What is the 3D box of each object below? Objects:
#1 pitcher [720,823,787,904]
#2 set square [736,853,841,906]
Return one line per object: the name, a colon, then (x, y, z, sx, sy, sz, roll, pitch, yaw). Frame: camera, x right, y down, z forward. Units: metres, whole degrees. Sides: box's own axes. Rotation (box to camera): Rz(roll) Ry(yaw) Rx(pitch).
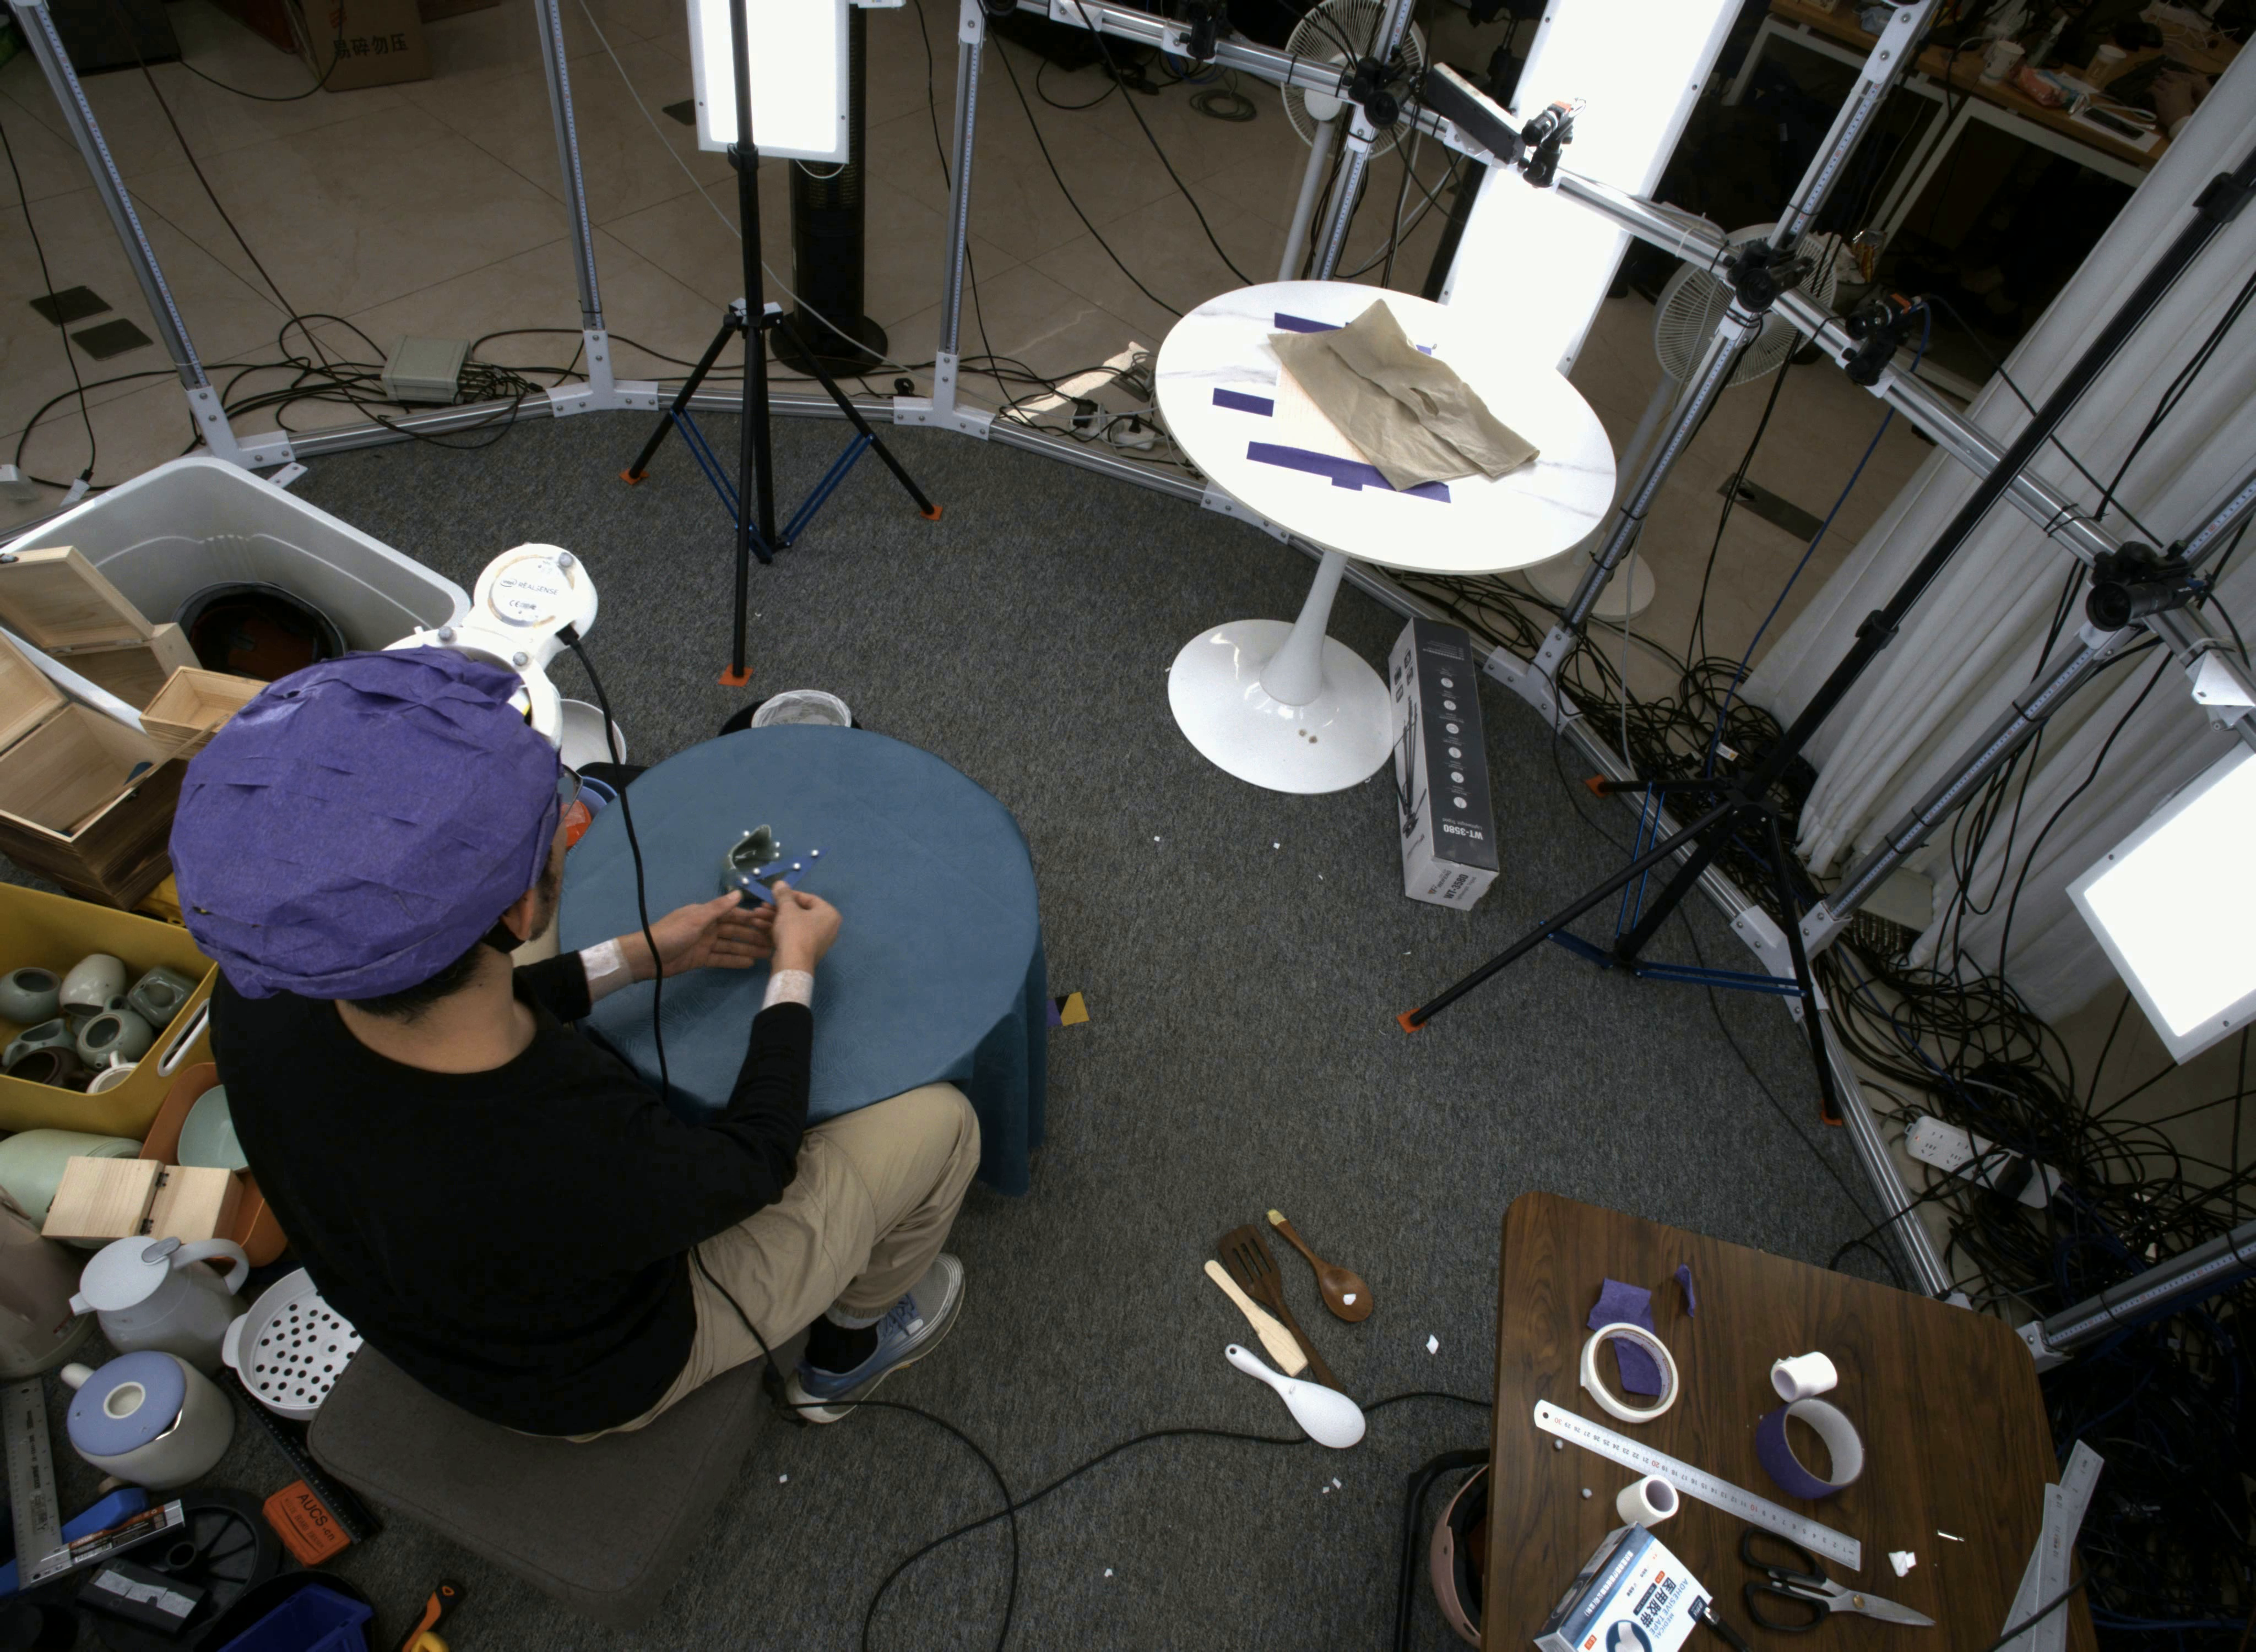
pitcher: (-0.475, 0.054, 1.629, 0.083, 0.057, 0.111, 13, 51, 0)
set square: (-0.405, 0.063, 1.580, 0.133, 0.006, 0.059, -14, 57, -33)
